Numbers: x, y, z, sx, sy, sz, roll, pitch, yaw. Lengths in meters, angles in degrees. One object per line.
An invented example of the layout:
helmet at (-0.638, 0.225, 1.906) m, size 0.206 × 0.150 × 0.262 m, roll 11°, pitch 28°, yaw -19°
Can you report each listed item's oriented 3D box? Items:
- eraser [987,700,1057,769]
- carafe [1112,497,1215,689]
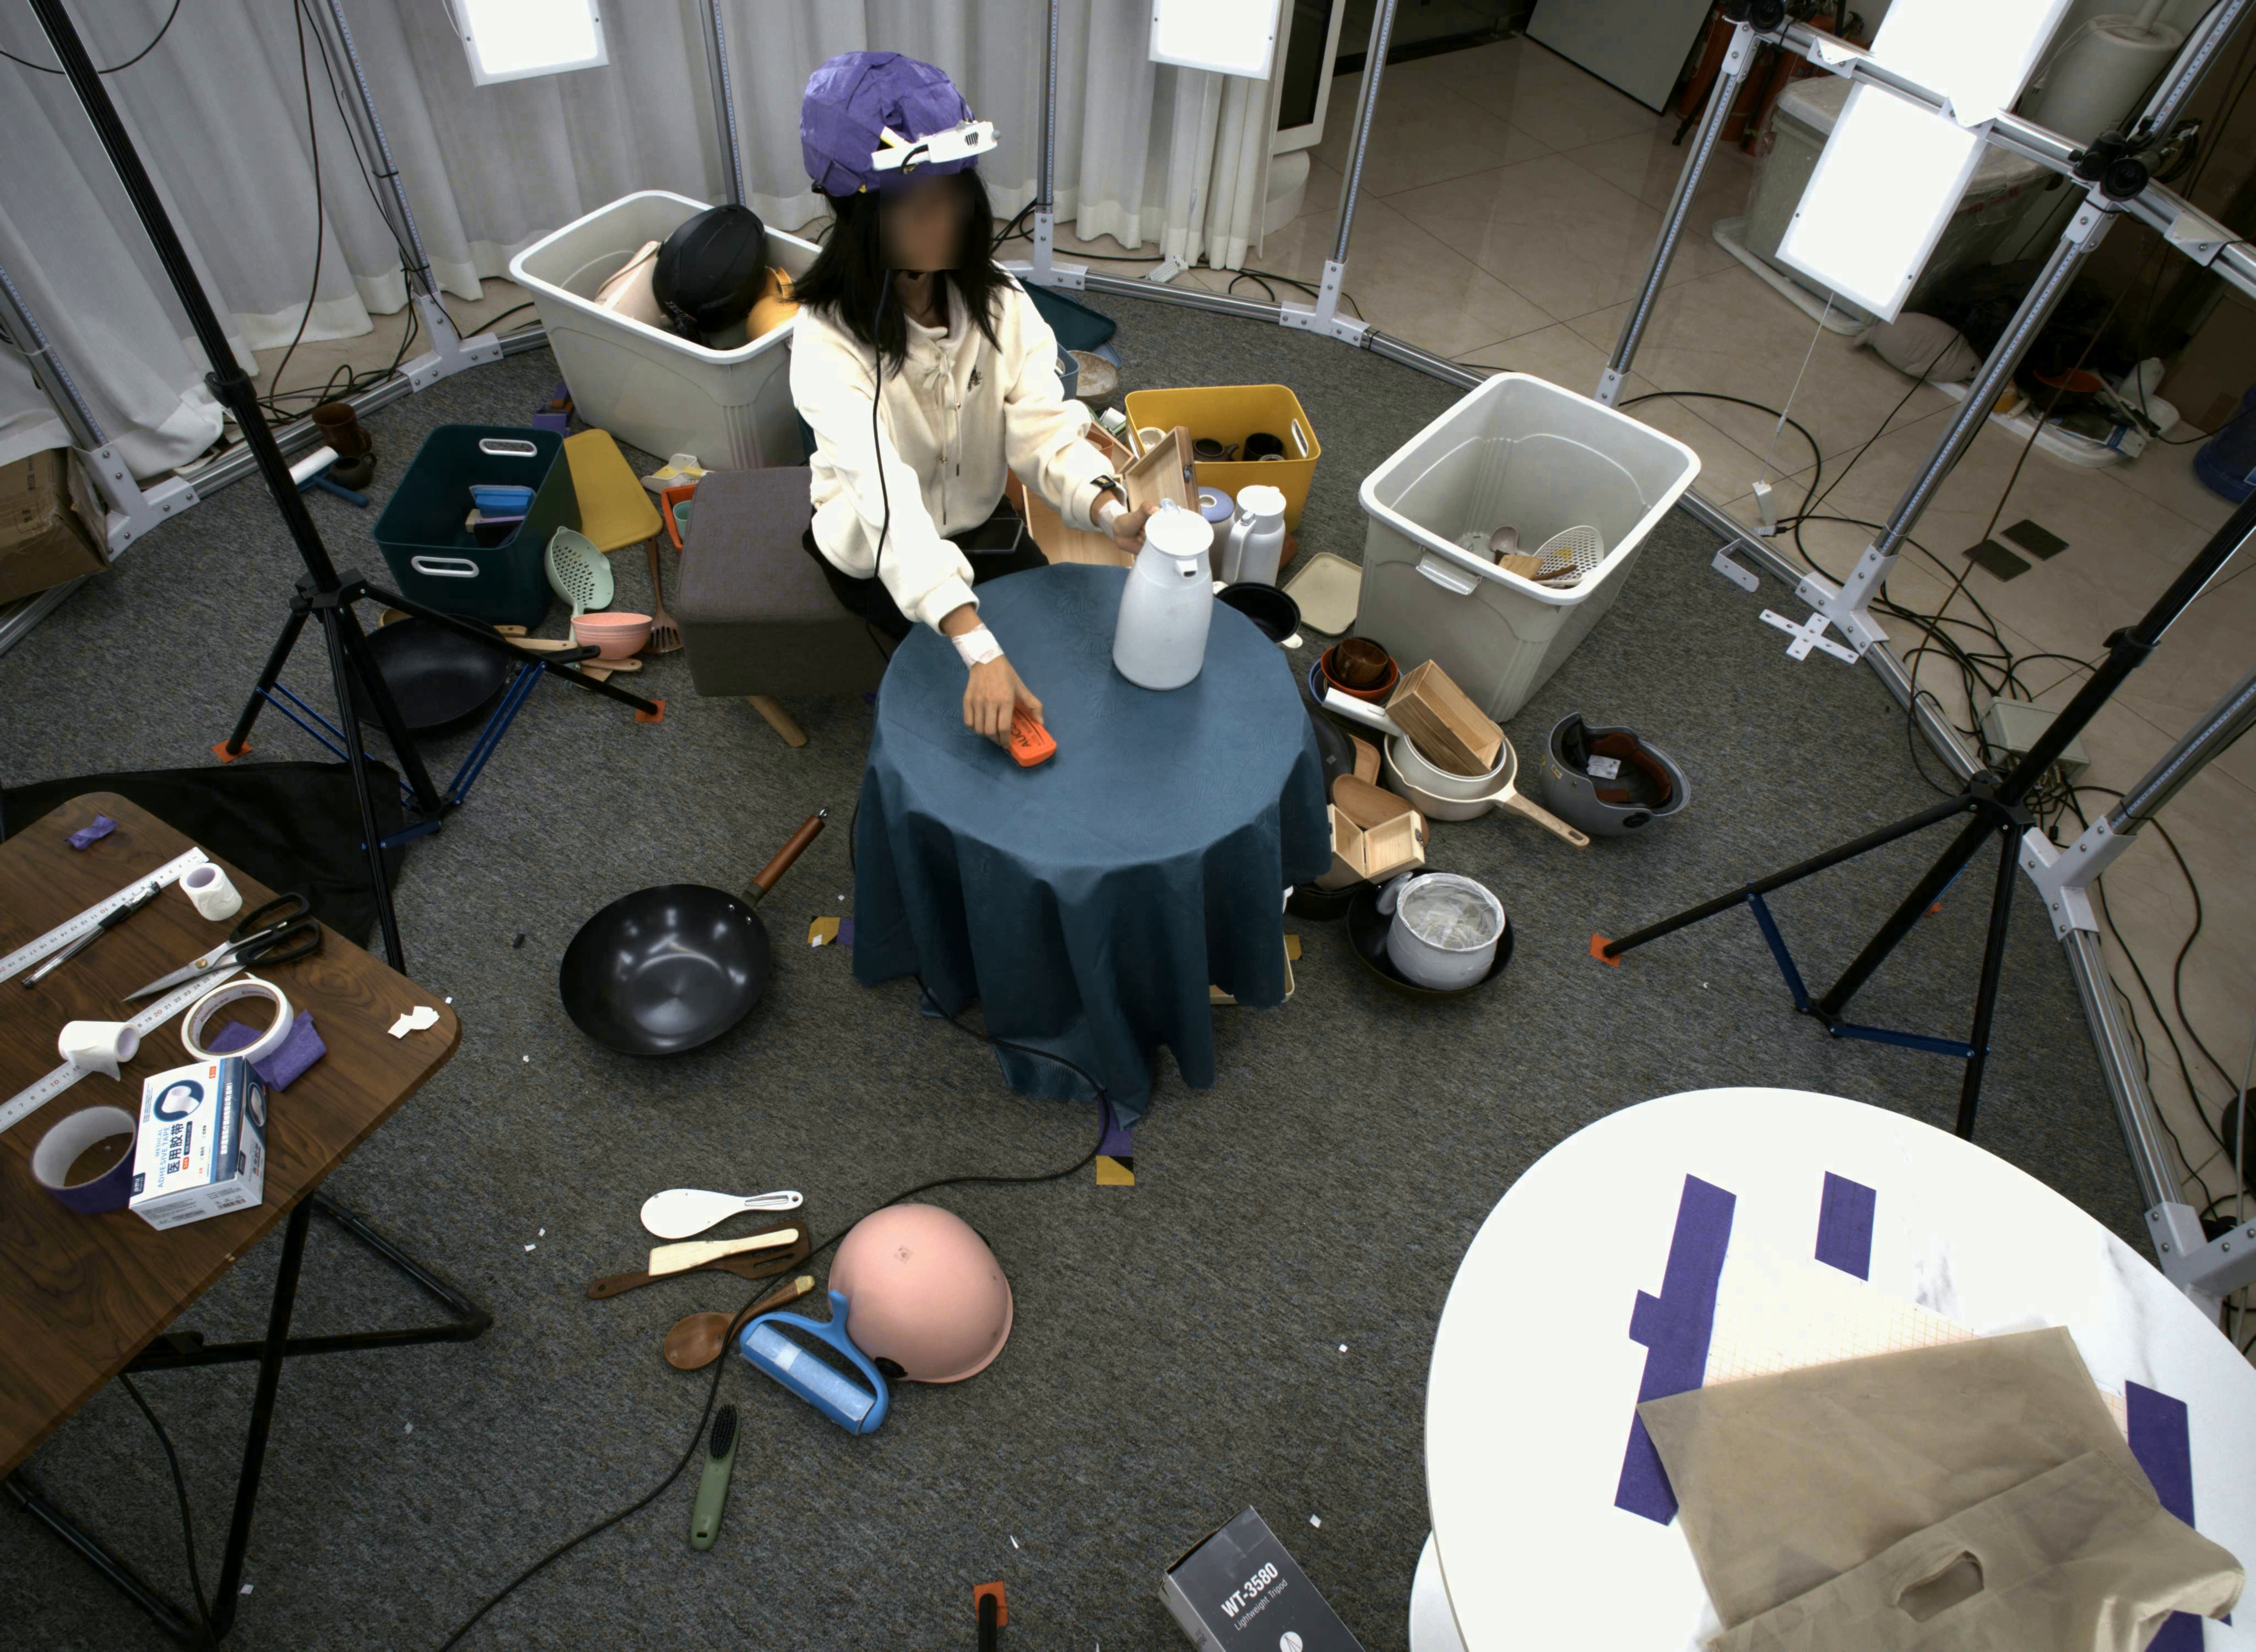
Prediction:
eraser at (-0.146, -0.126, 1.753) m, size 0.059 × 0.022 × 0.110 m, roll -21°, pitch 53°, yaw -26°
carafe at (0.050, -0.337, 1.798) m, size 0.132 × 0.243 × 0.172 m, roll -8°, pitch 53°, yaw -14°
